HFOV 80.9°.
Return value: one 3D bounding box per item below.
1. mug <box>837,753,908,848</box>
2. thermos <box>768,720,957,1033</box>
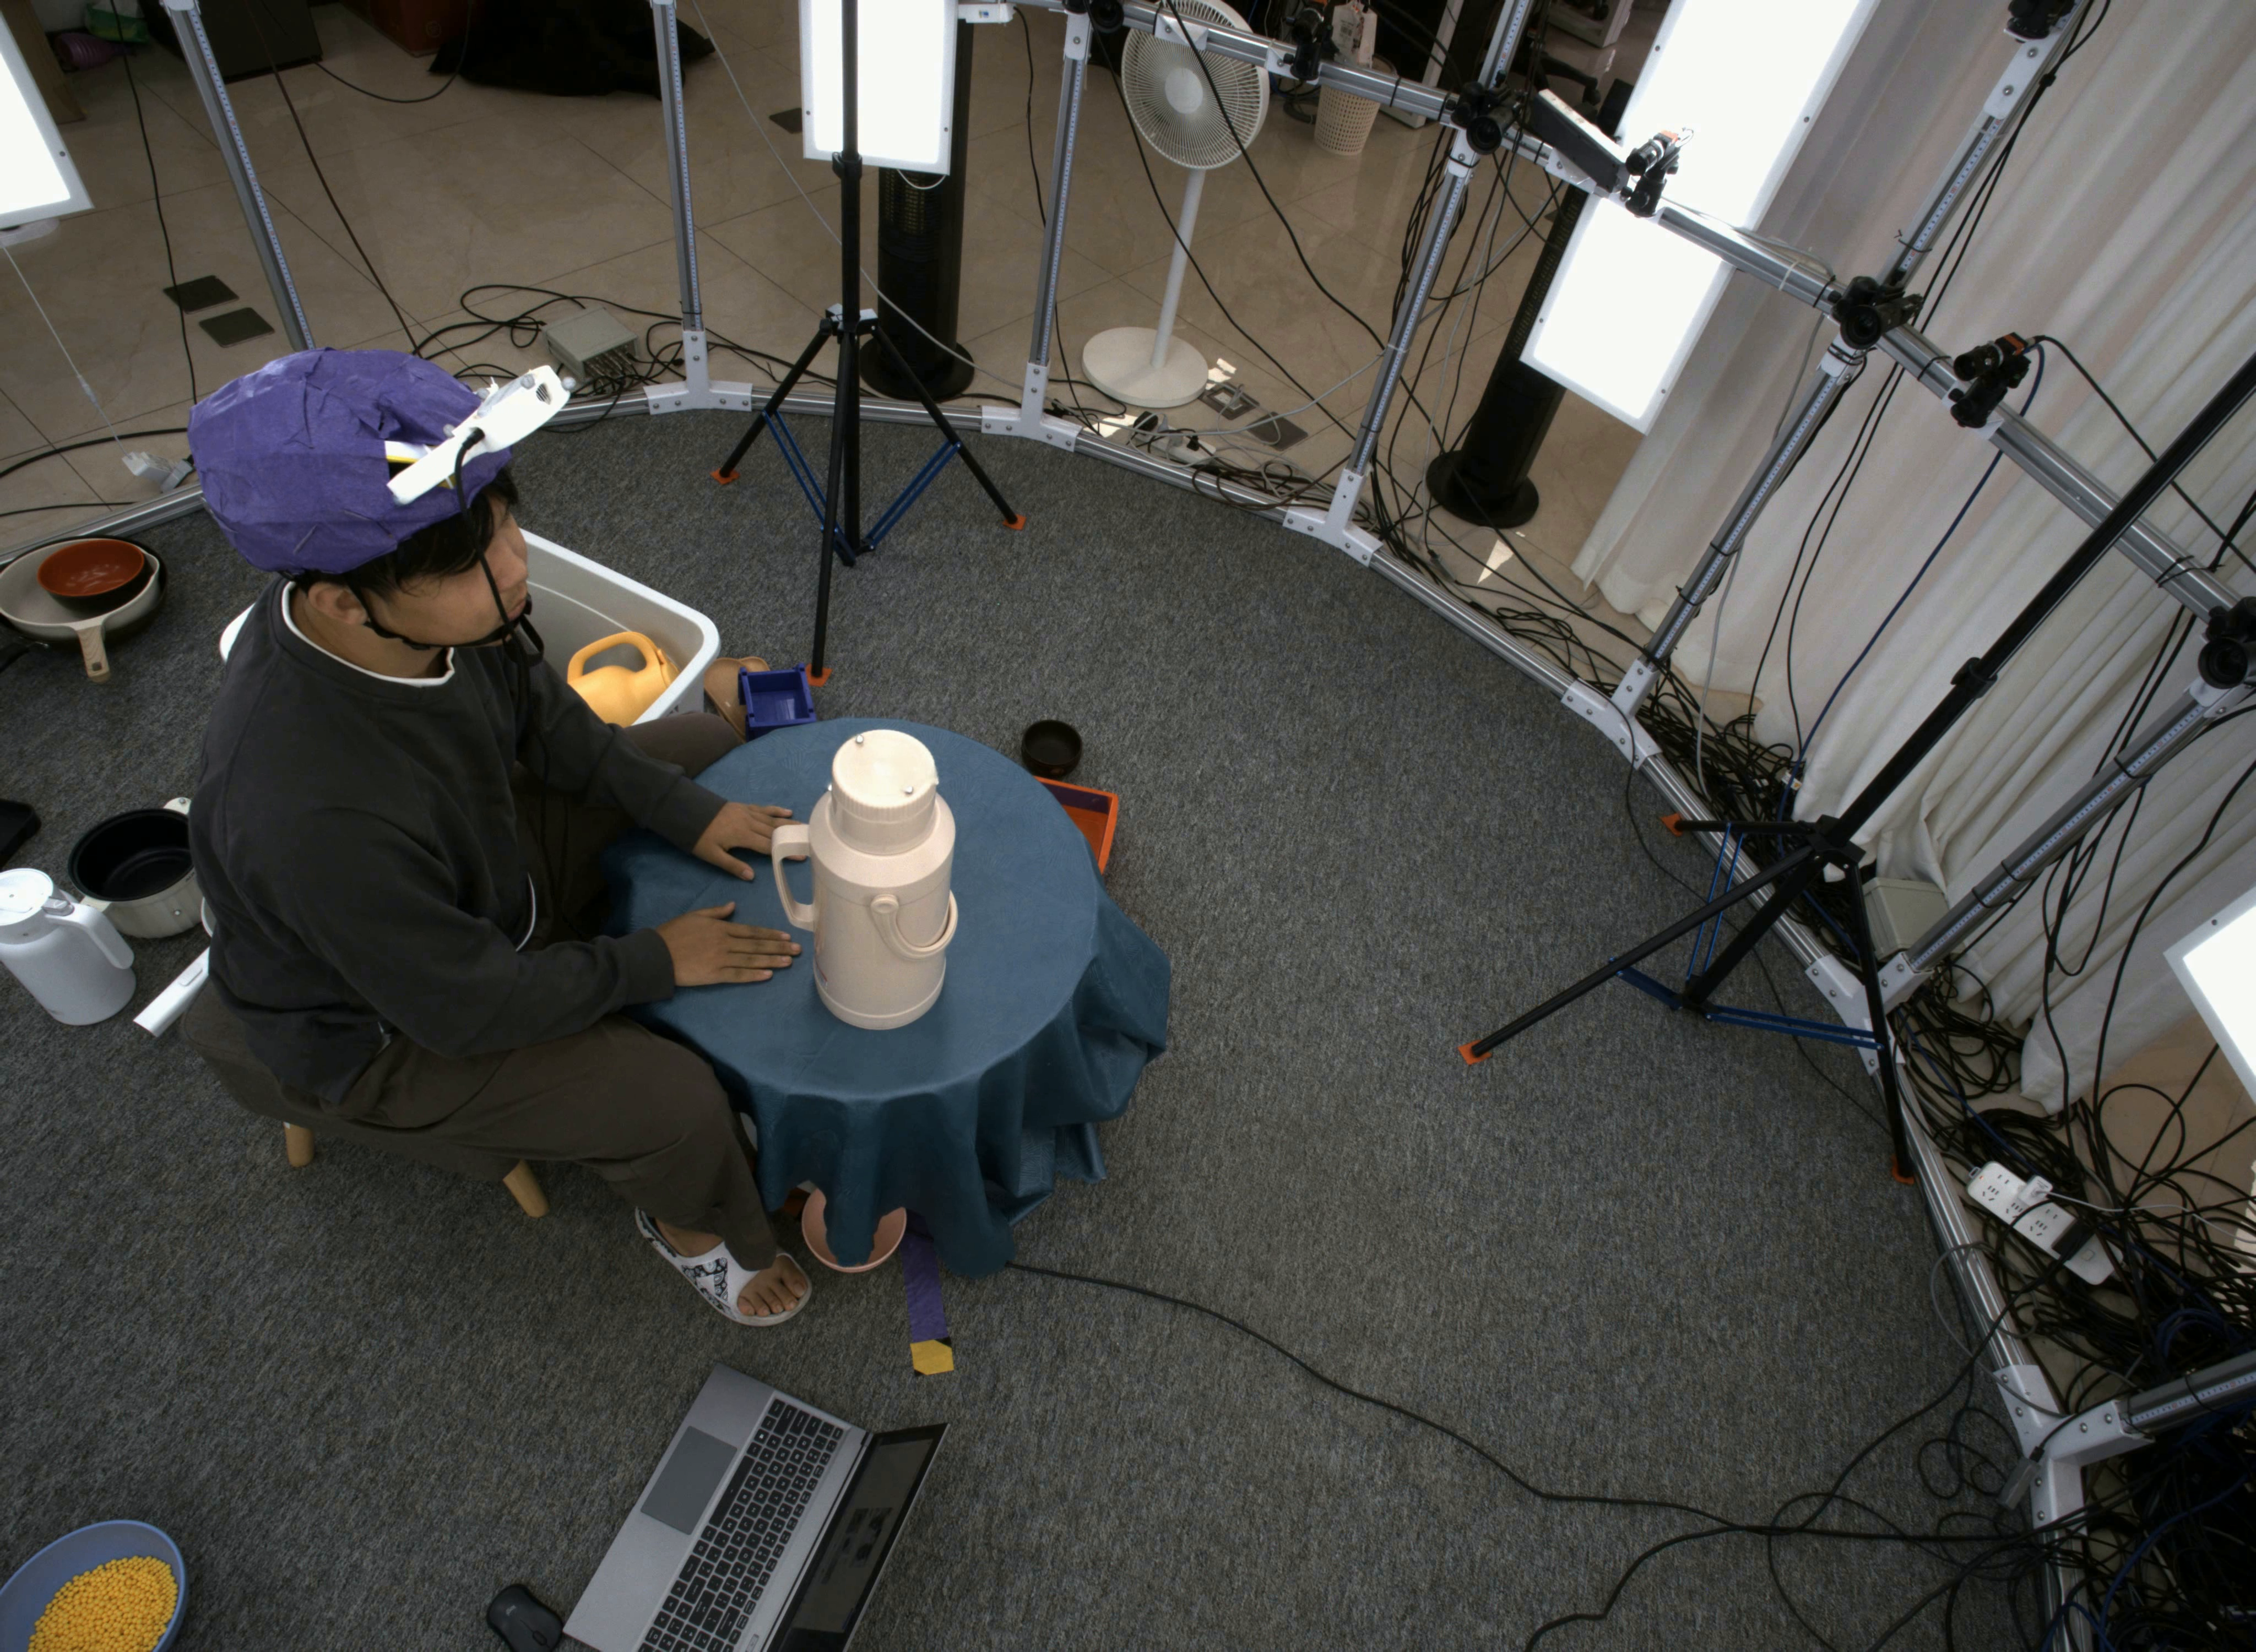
[{"bbox_3d":[-0.341,-0.042,1.714,0.094,0.092,0.120,-13,57,-21],"label":"mug"},{"bbox_3d":[-0.291,0.059,1.452,0.207,0.415,0.171,-2,53,-13],"label":"thermos"}]
